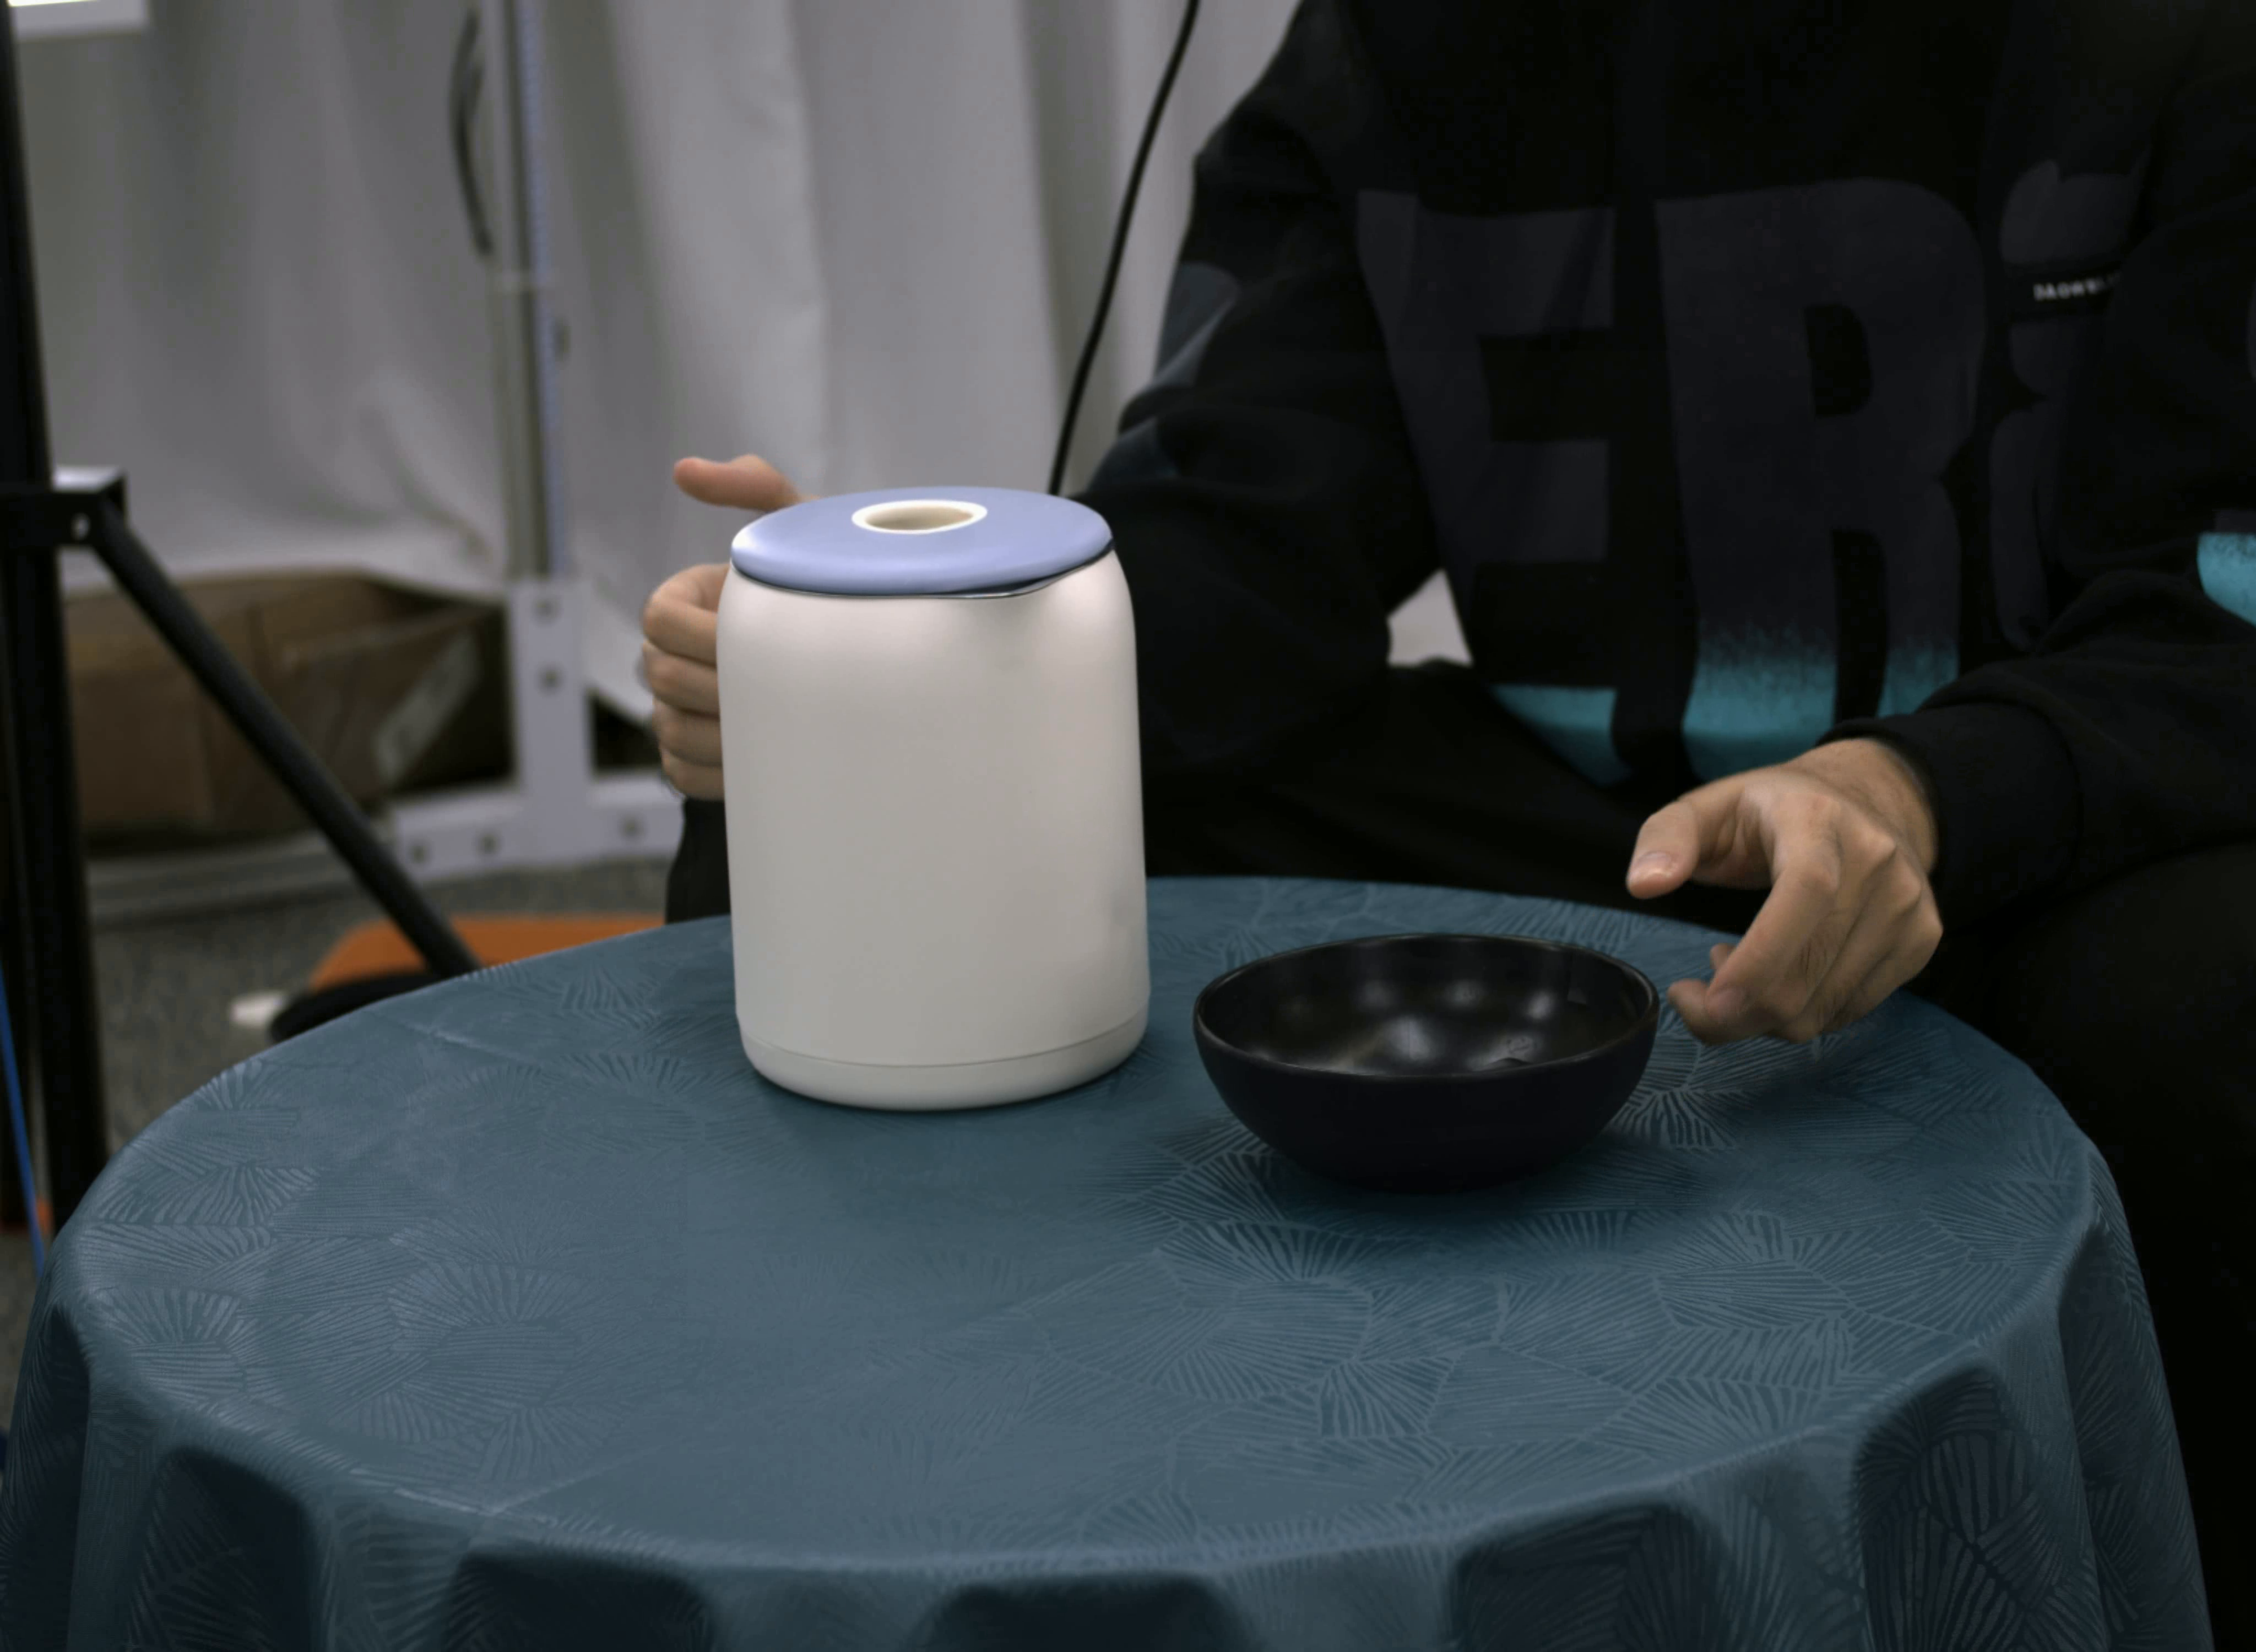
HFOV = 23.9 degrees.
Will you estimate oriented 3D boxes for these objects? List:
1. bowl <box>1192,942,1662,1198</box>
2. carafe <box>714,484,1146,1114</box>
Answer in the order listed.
[{"bbox_3d":[0.089,0.076,1.566,0.139,0.050,0.140,-3,14,-1],"label":"bowl"},{"bbox_3d":[-0.073,-0.015,1.691,0.129,0.182,0.195,-9,14,-26],"label":"carafe"}]
